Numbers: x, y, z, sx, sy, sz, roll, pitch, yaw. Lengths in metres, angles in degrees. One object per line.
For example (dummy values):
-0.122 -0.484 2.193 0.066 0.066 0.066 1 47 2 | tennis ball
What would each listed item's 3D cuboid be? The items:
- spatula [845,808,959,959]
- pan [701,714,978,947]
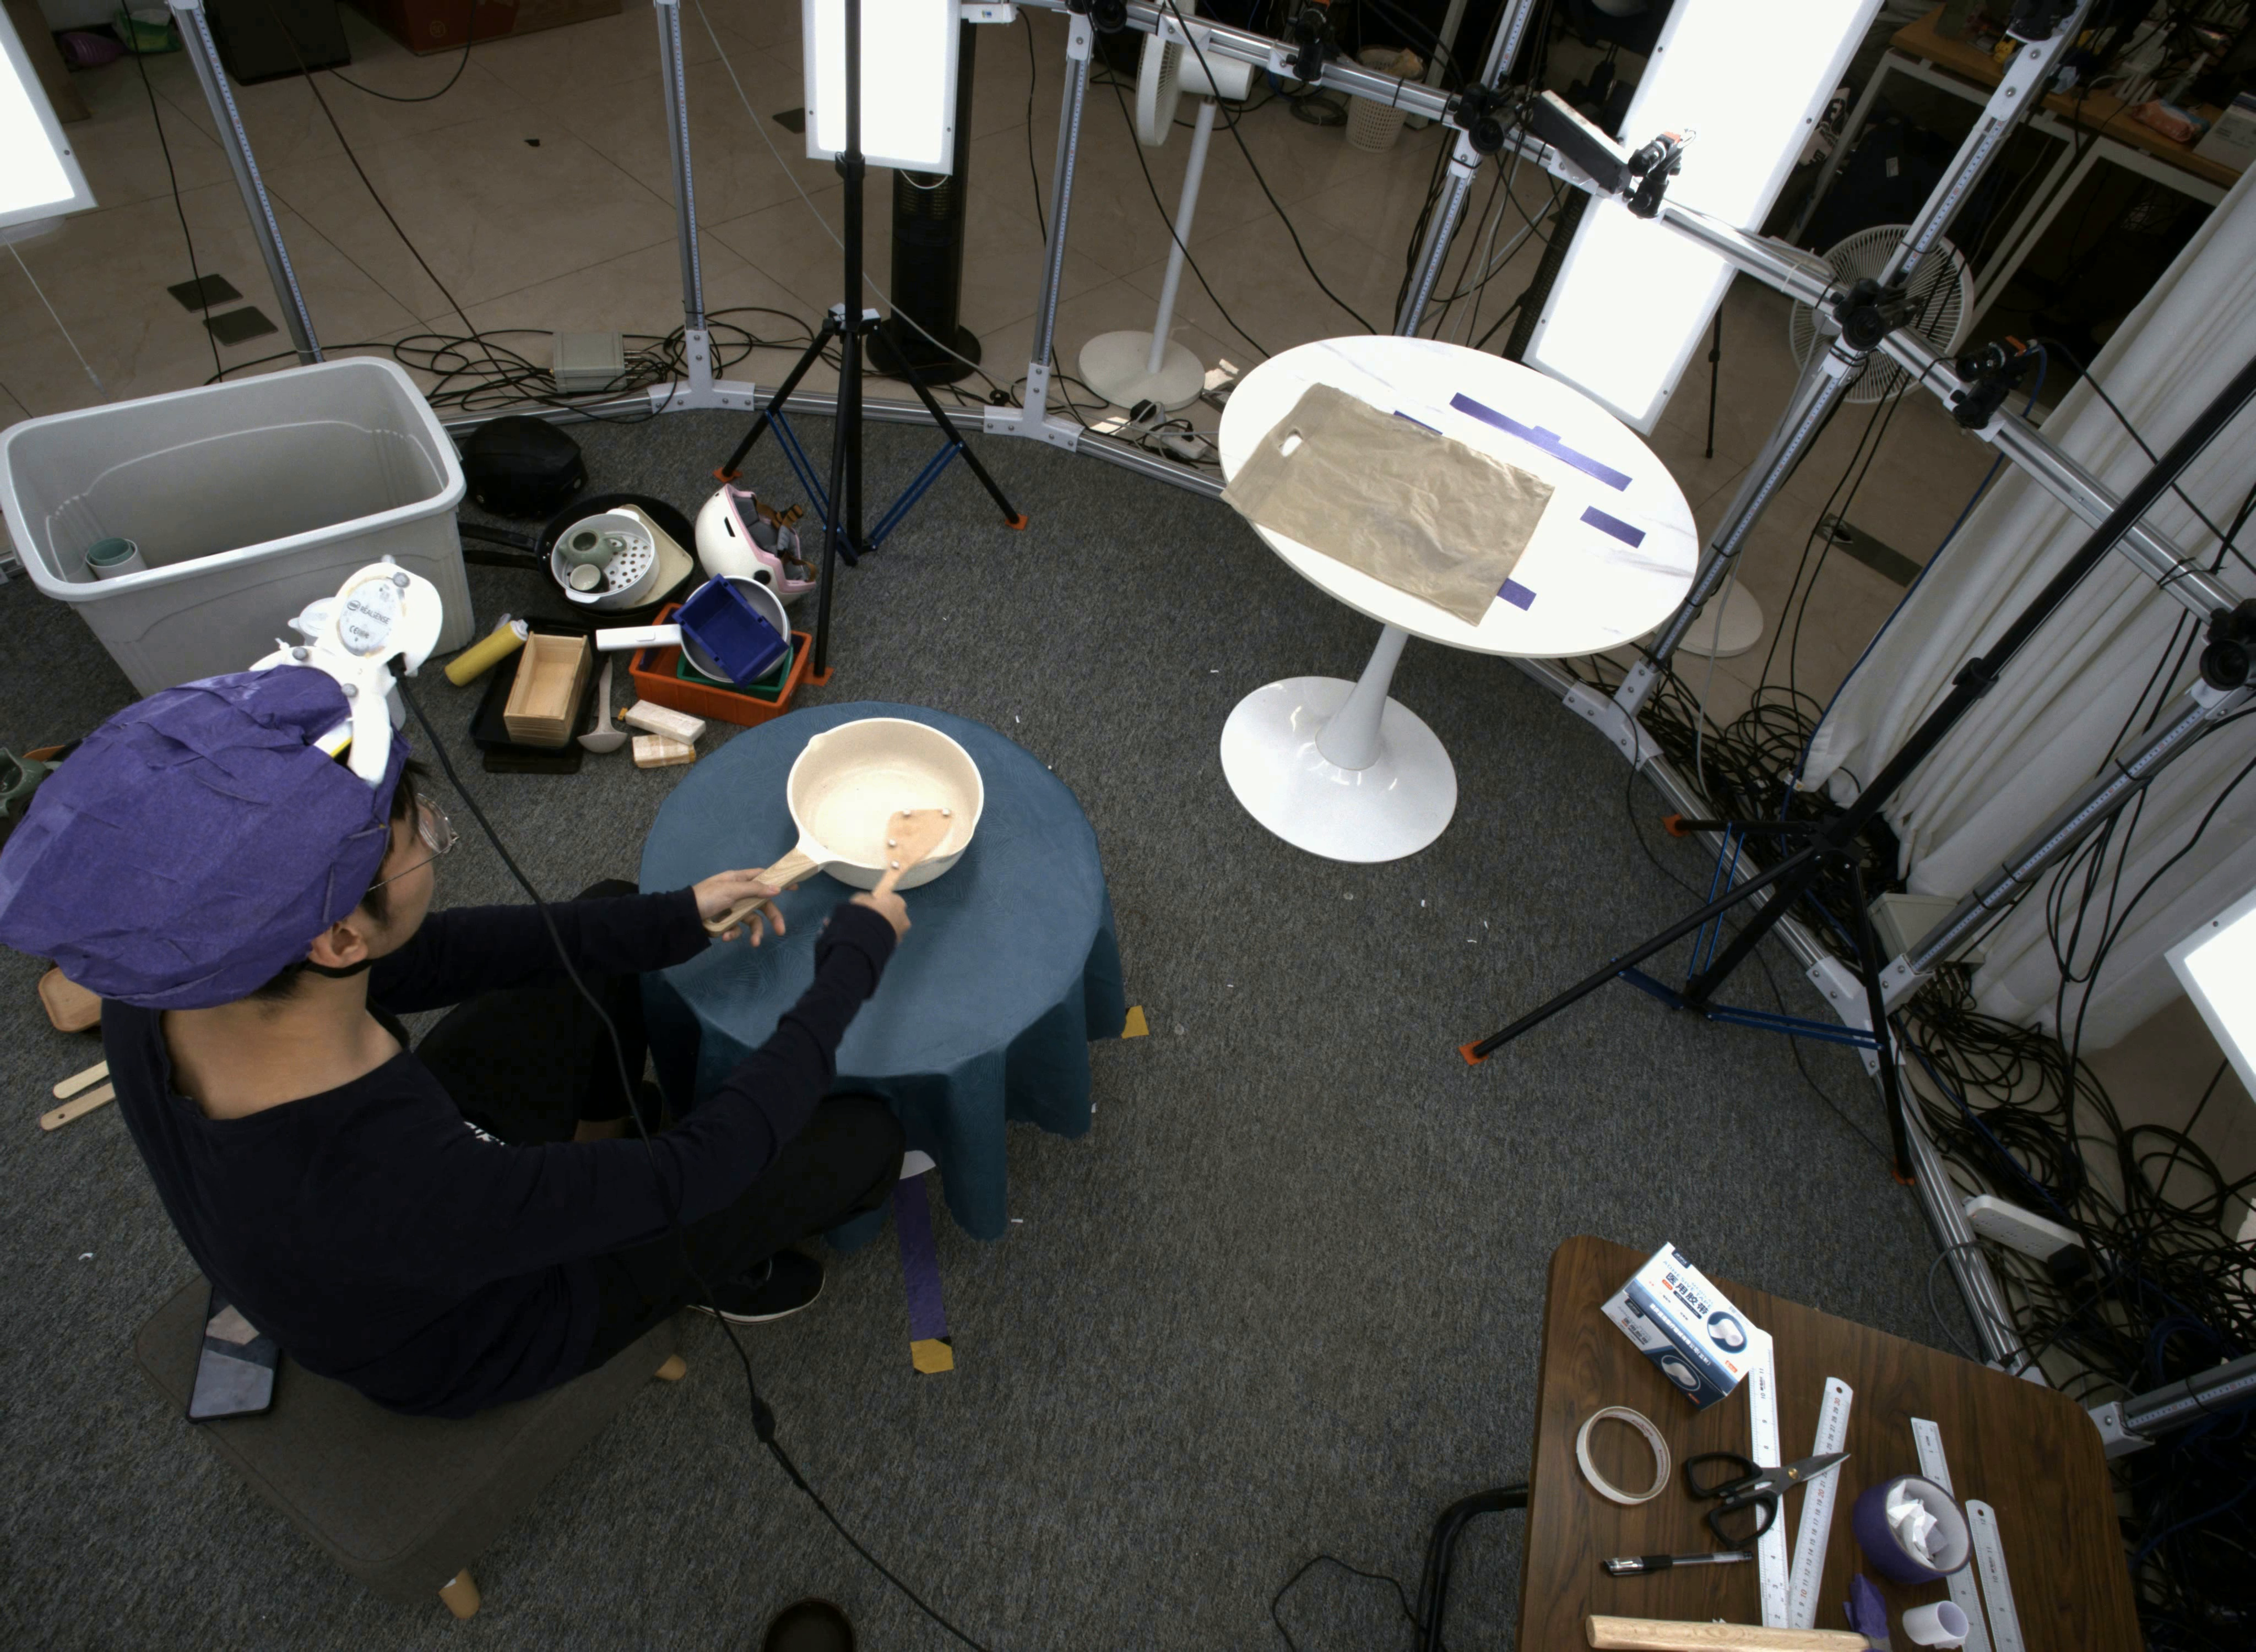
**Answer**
-0.269 0.056 1.502 0.079 0.017 0.322 6 29 5 | spatula
-0.375 0.025 1.651 0.259 0.104 0.434 35 54 12 | pan
